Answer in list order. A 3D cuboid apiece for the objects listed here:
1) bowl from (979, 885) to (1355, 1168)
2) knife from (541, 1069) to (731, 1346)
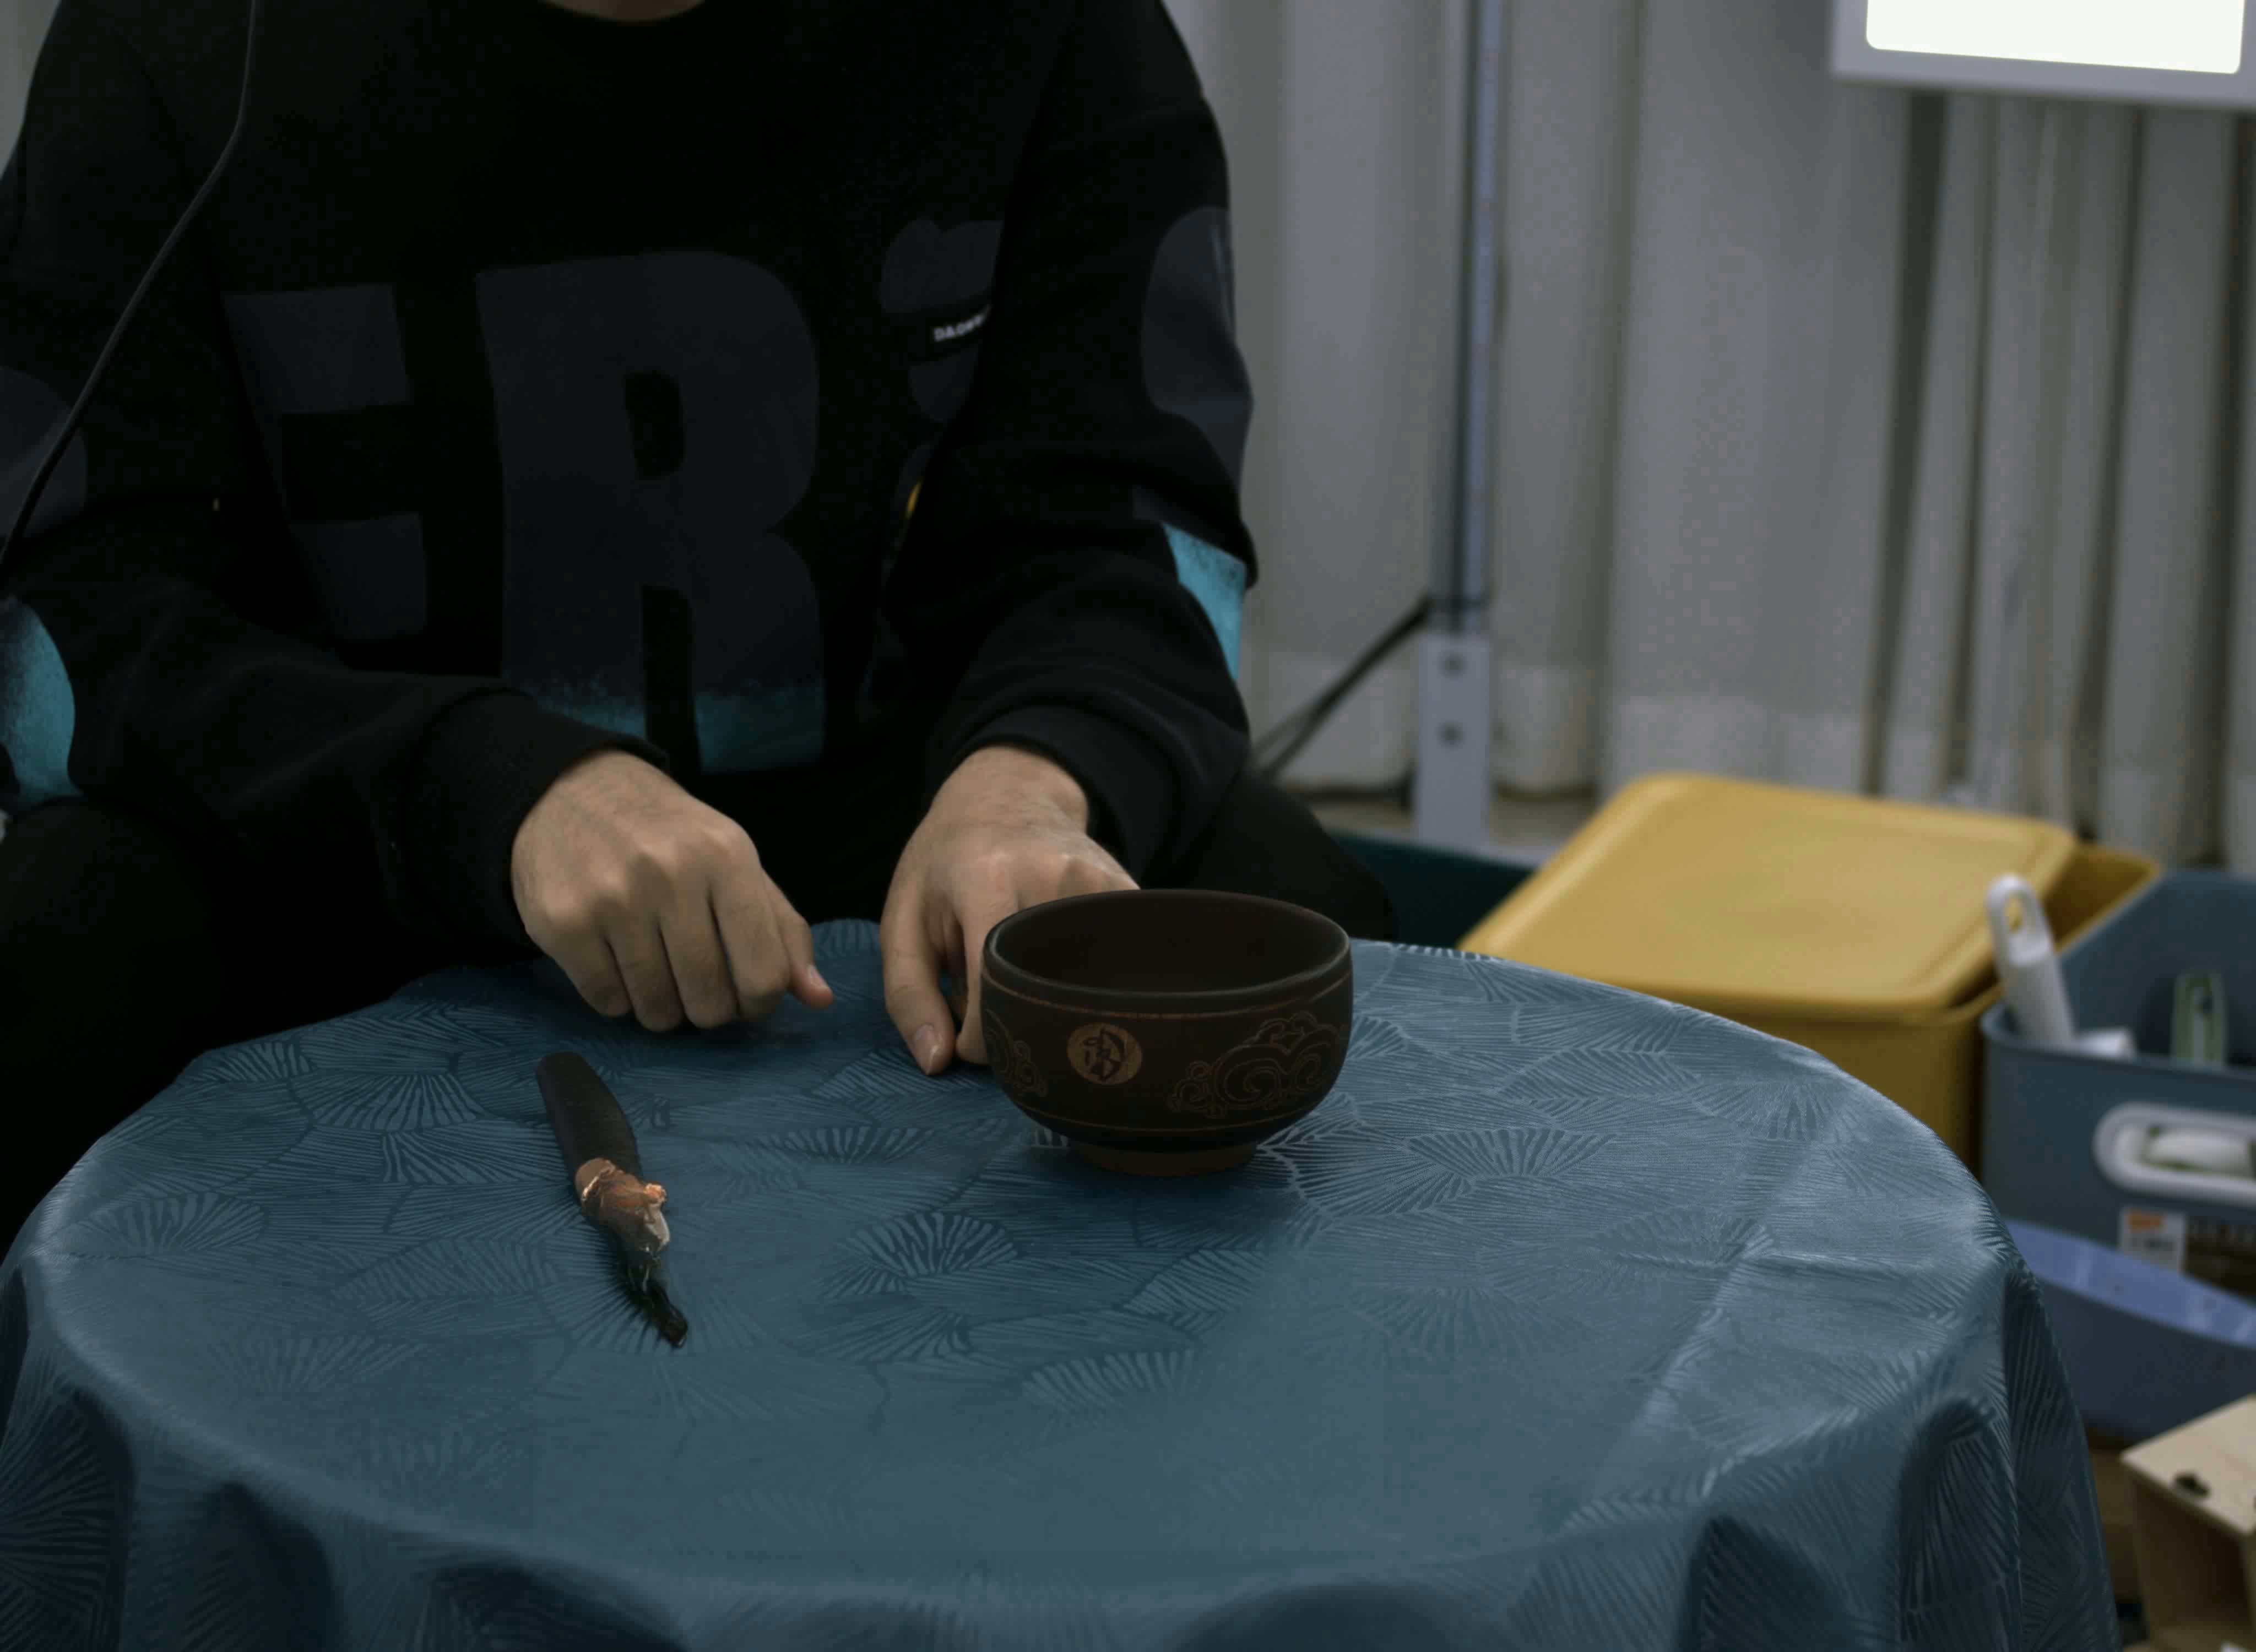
[{"bbox_3d":[0.012,0.066,1.648,0.117,0.070,0.117,2,14,0],"label":"bowl"},{"bbox_3d":[-0.151,0.114,1.591,0.026,0.017,0.223,3,15,-17],"label":"knife"}]
